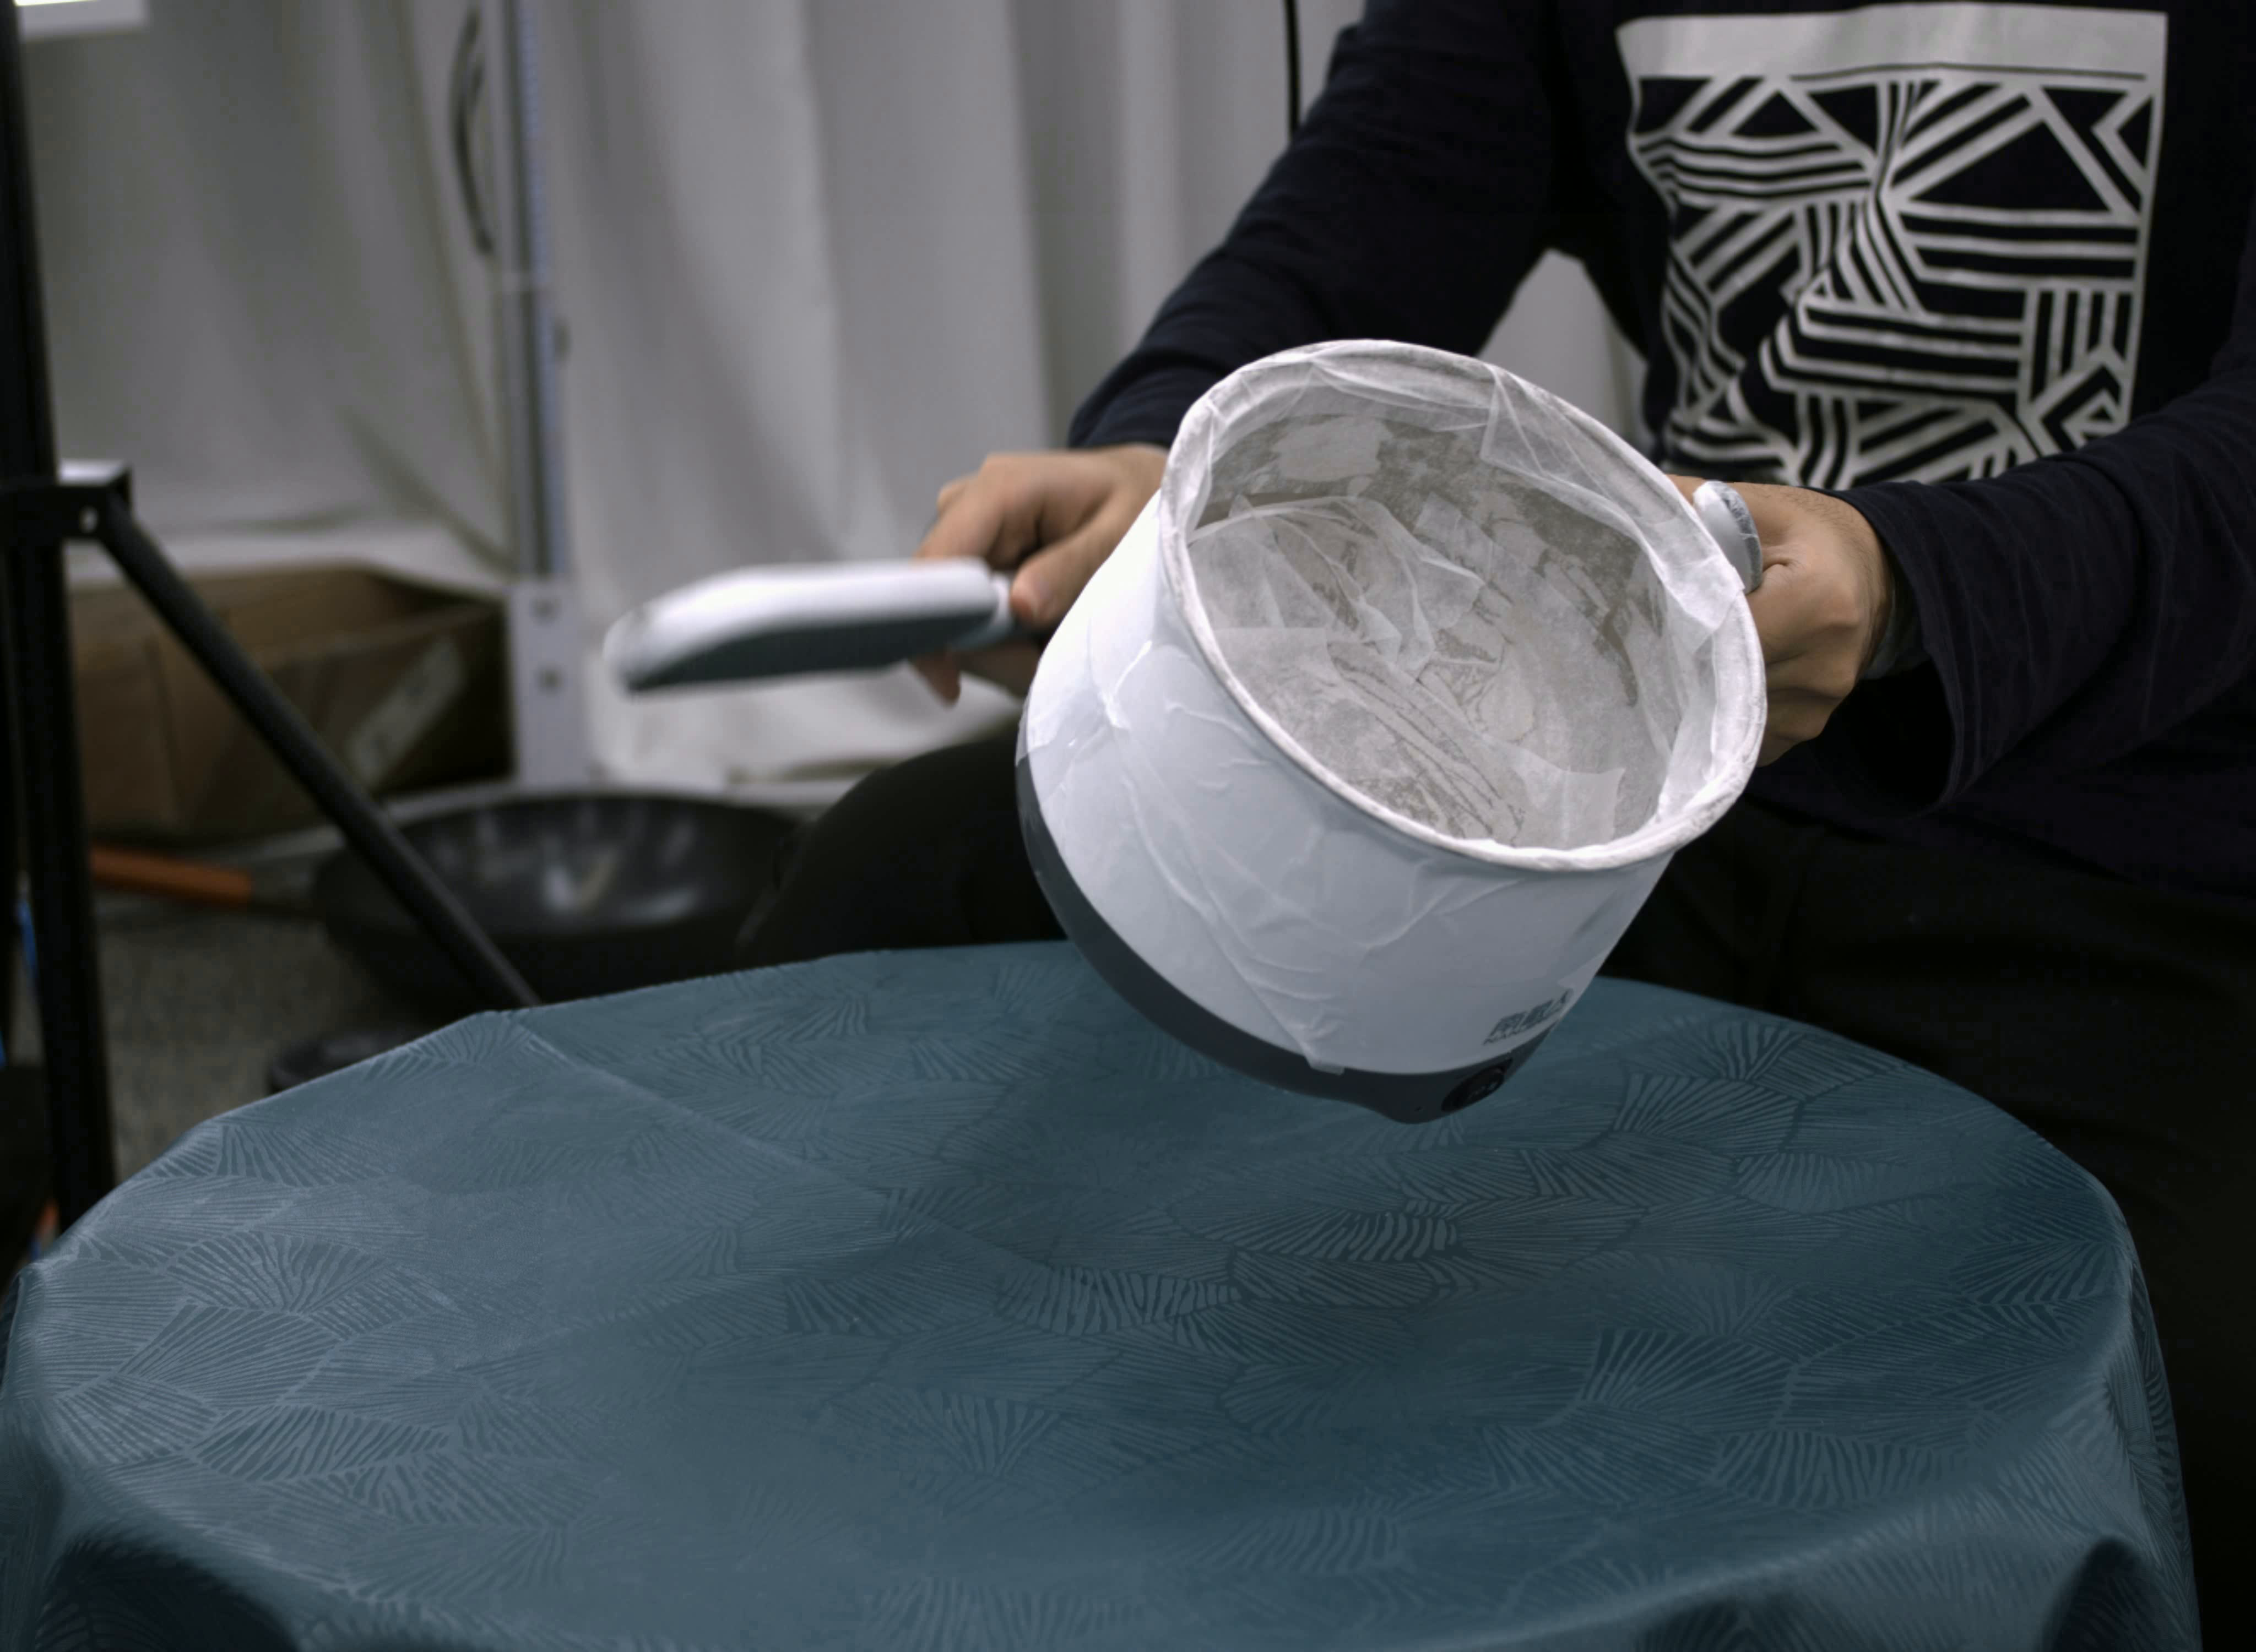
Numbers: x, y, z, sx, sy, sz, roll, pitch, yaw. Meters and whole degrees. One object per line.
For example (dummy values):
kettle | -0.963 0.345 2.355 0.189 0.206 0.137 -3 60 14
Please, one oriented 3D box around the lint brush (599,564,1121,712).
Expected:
lint brush | -0.067 -0.062 1.645 0.061 0.021 0.303 -29 -8 27

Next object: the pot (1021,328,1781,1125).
pot | 0.089 -0.033 1.456 0.229 0.137 0.181 -20 67 -36
